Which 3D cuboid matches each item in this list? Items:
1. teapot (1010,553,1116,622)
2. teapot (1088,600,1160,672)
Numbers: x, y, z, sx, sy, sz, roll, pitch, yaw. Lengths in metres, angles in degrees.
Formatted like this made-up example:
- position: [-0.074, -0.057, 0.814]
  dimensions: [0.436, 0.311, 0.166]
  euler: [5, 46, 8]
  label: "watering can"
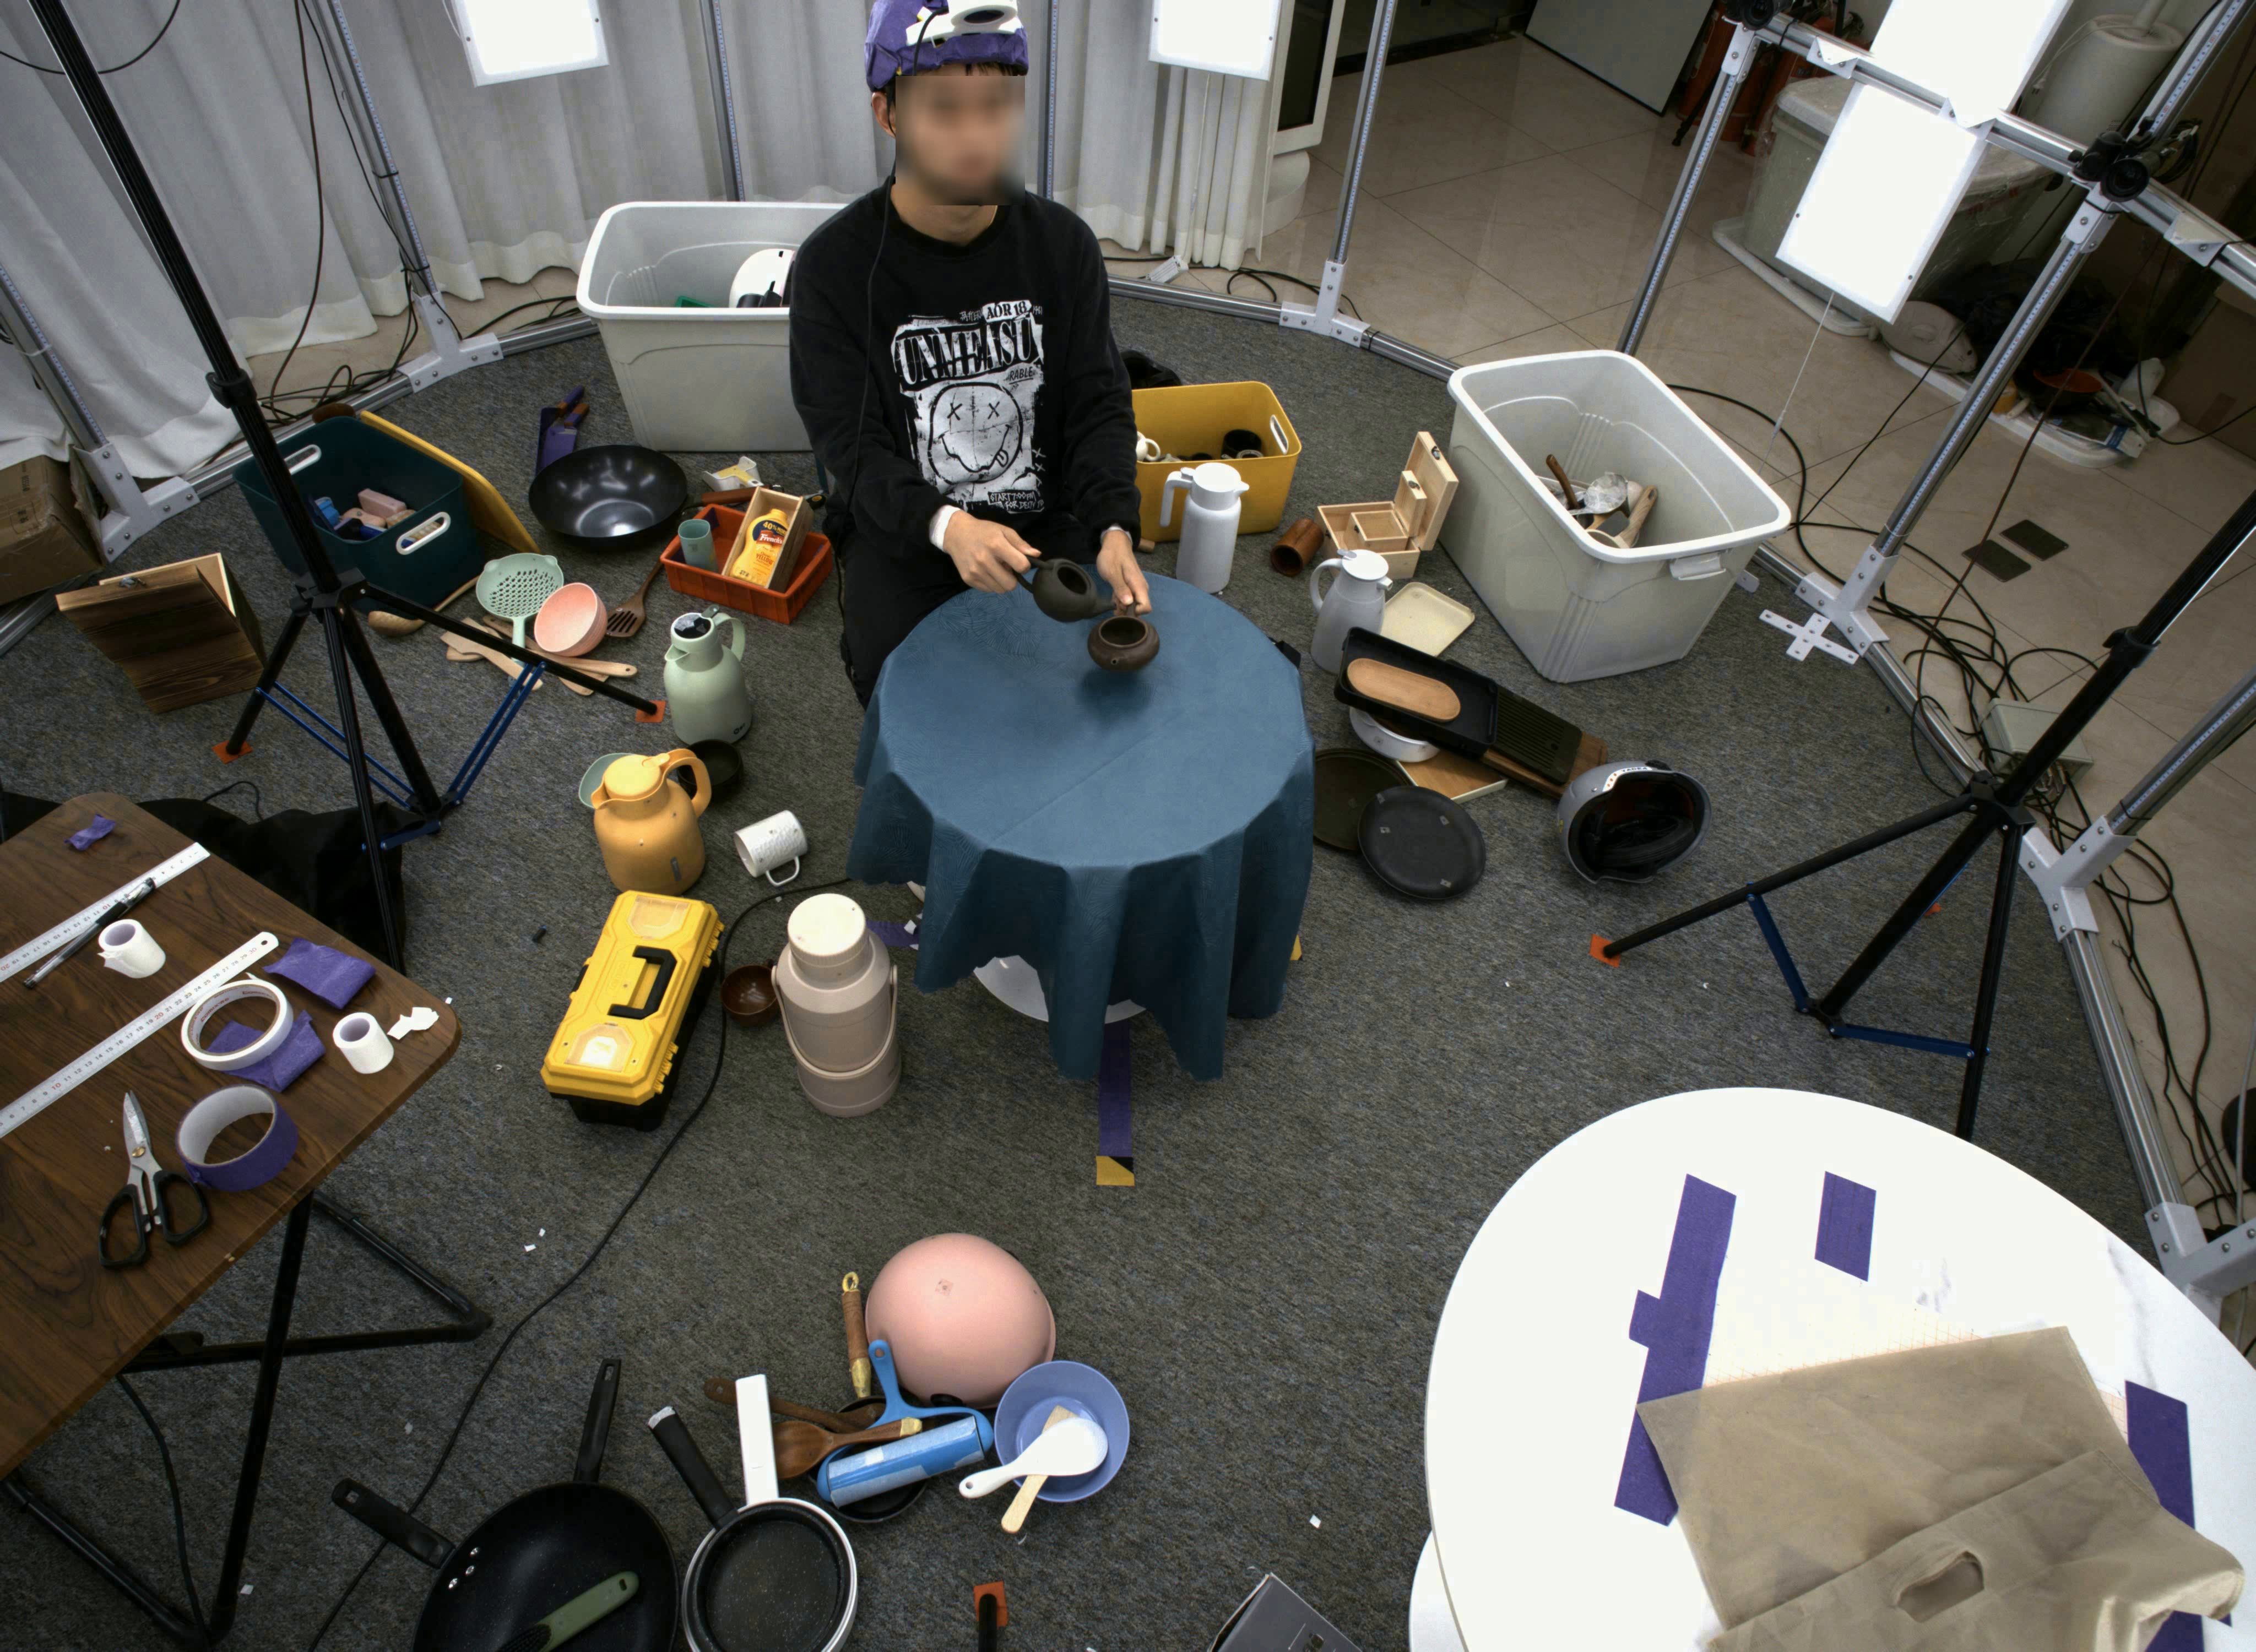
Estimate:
- position: [-0.090, -0.319, 1.732]
  dimensions: [0.153, 0.063, 0.094]
  euler: [27, 41, -17]
  label: "teapot"
- position: [-0.006, -0.264, 1.822]
  dimensions: [0.102, 0.052, 0.157]
  euler: [4, 47, 3]
  label: "teapot"
